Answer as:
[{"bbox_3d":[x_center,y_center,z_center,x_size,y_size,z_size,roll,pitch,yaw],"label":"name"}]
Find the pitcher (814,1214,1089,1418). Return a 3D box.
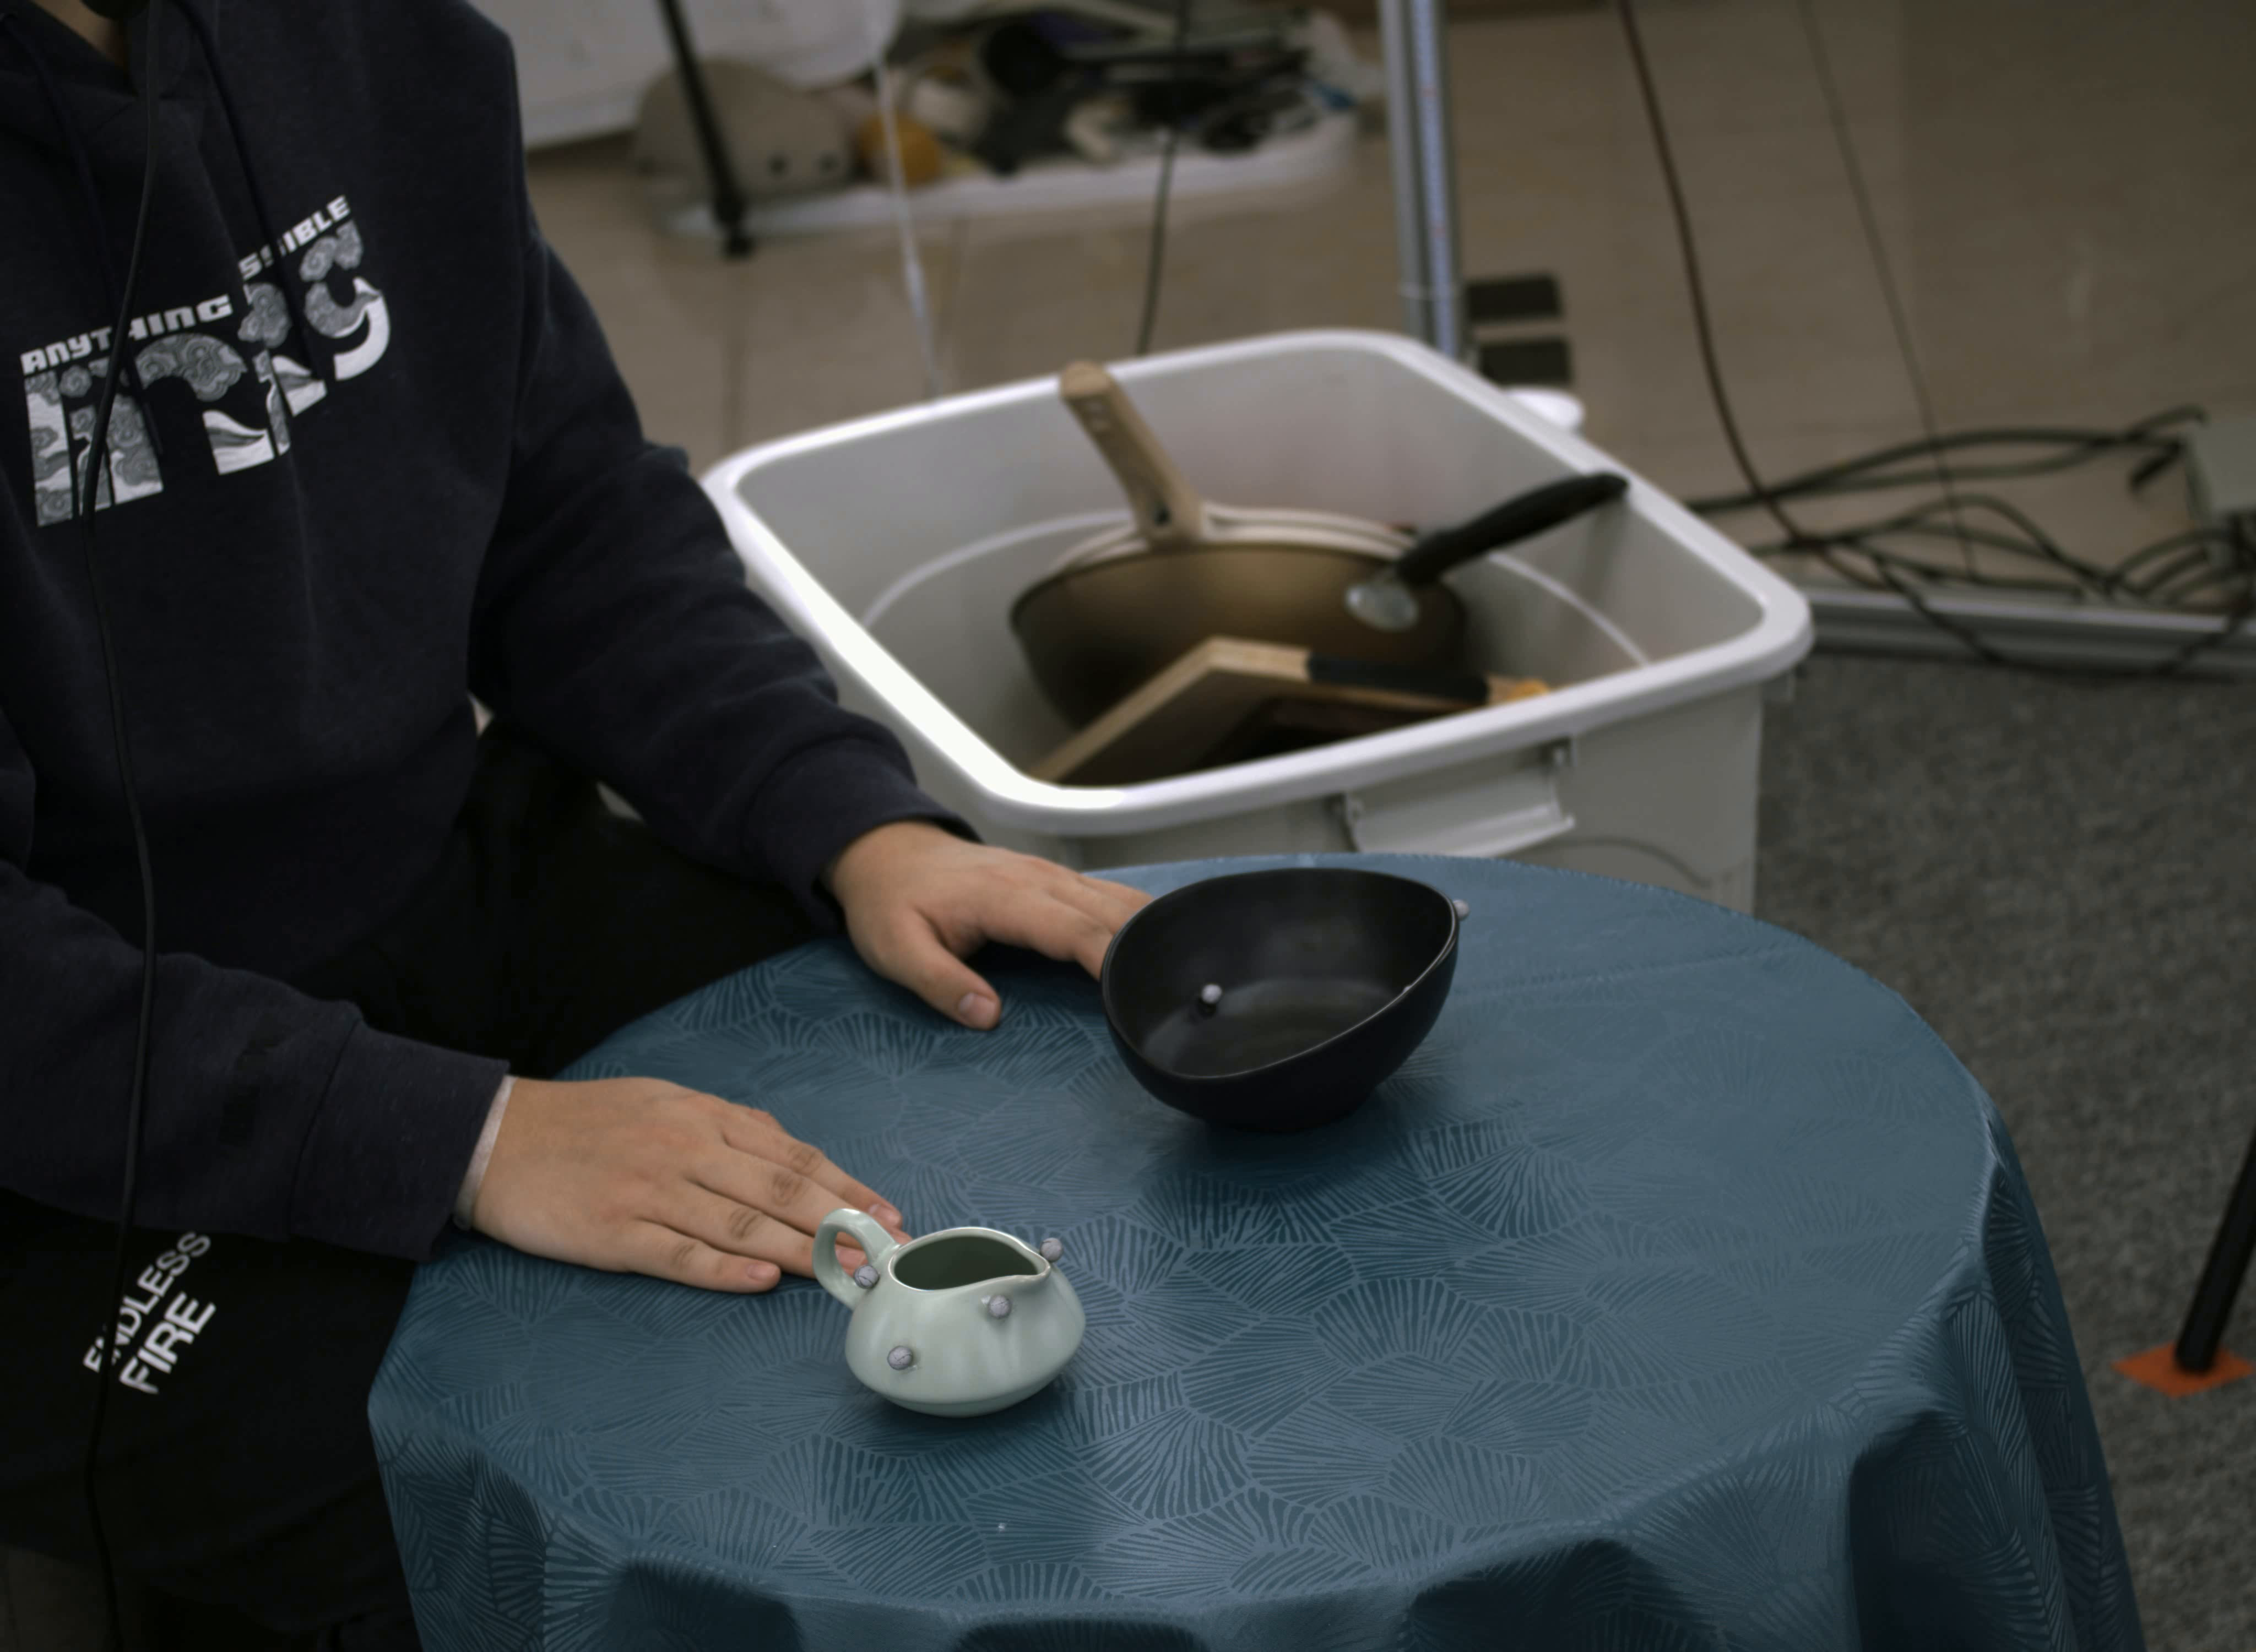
[{"bbox_3d":[-0.067,0.173,2.024,0.107,0.061,0.085,9,28,34],"label":"pitcher"}]

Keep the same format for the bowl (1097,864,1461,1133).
[{"bbox_3d":[0.061,0.075,2.197,0.137,0.068,0.168,3,27,22],"label":"bowl"}]
